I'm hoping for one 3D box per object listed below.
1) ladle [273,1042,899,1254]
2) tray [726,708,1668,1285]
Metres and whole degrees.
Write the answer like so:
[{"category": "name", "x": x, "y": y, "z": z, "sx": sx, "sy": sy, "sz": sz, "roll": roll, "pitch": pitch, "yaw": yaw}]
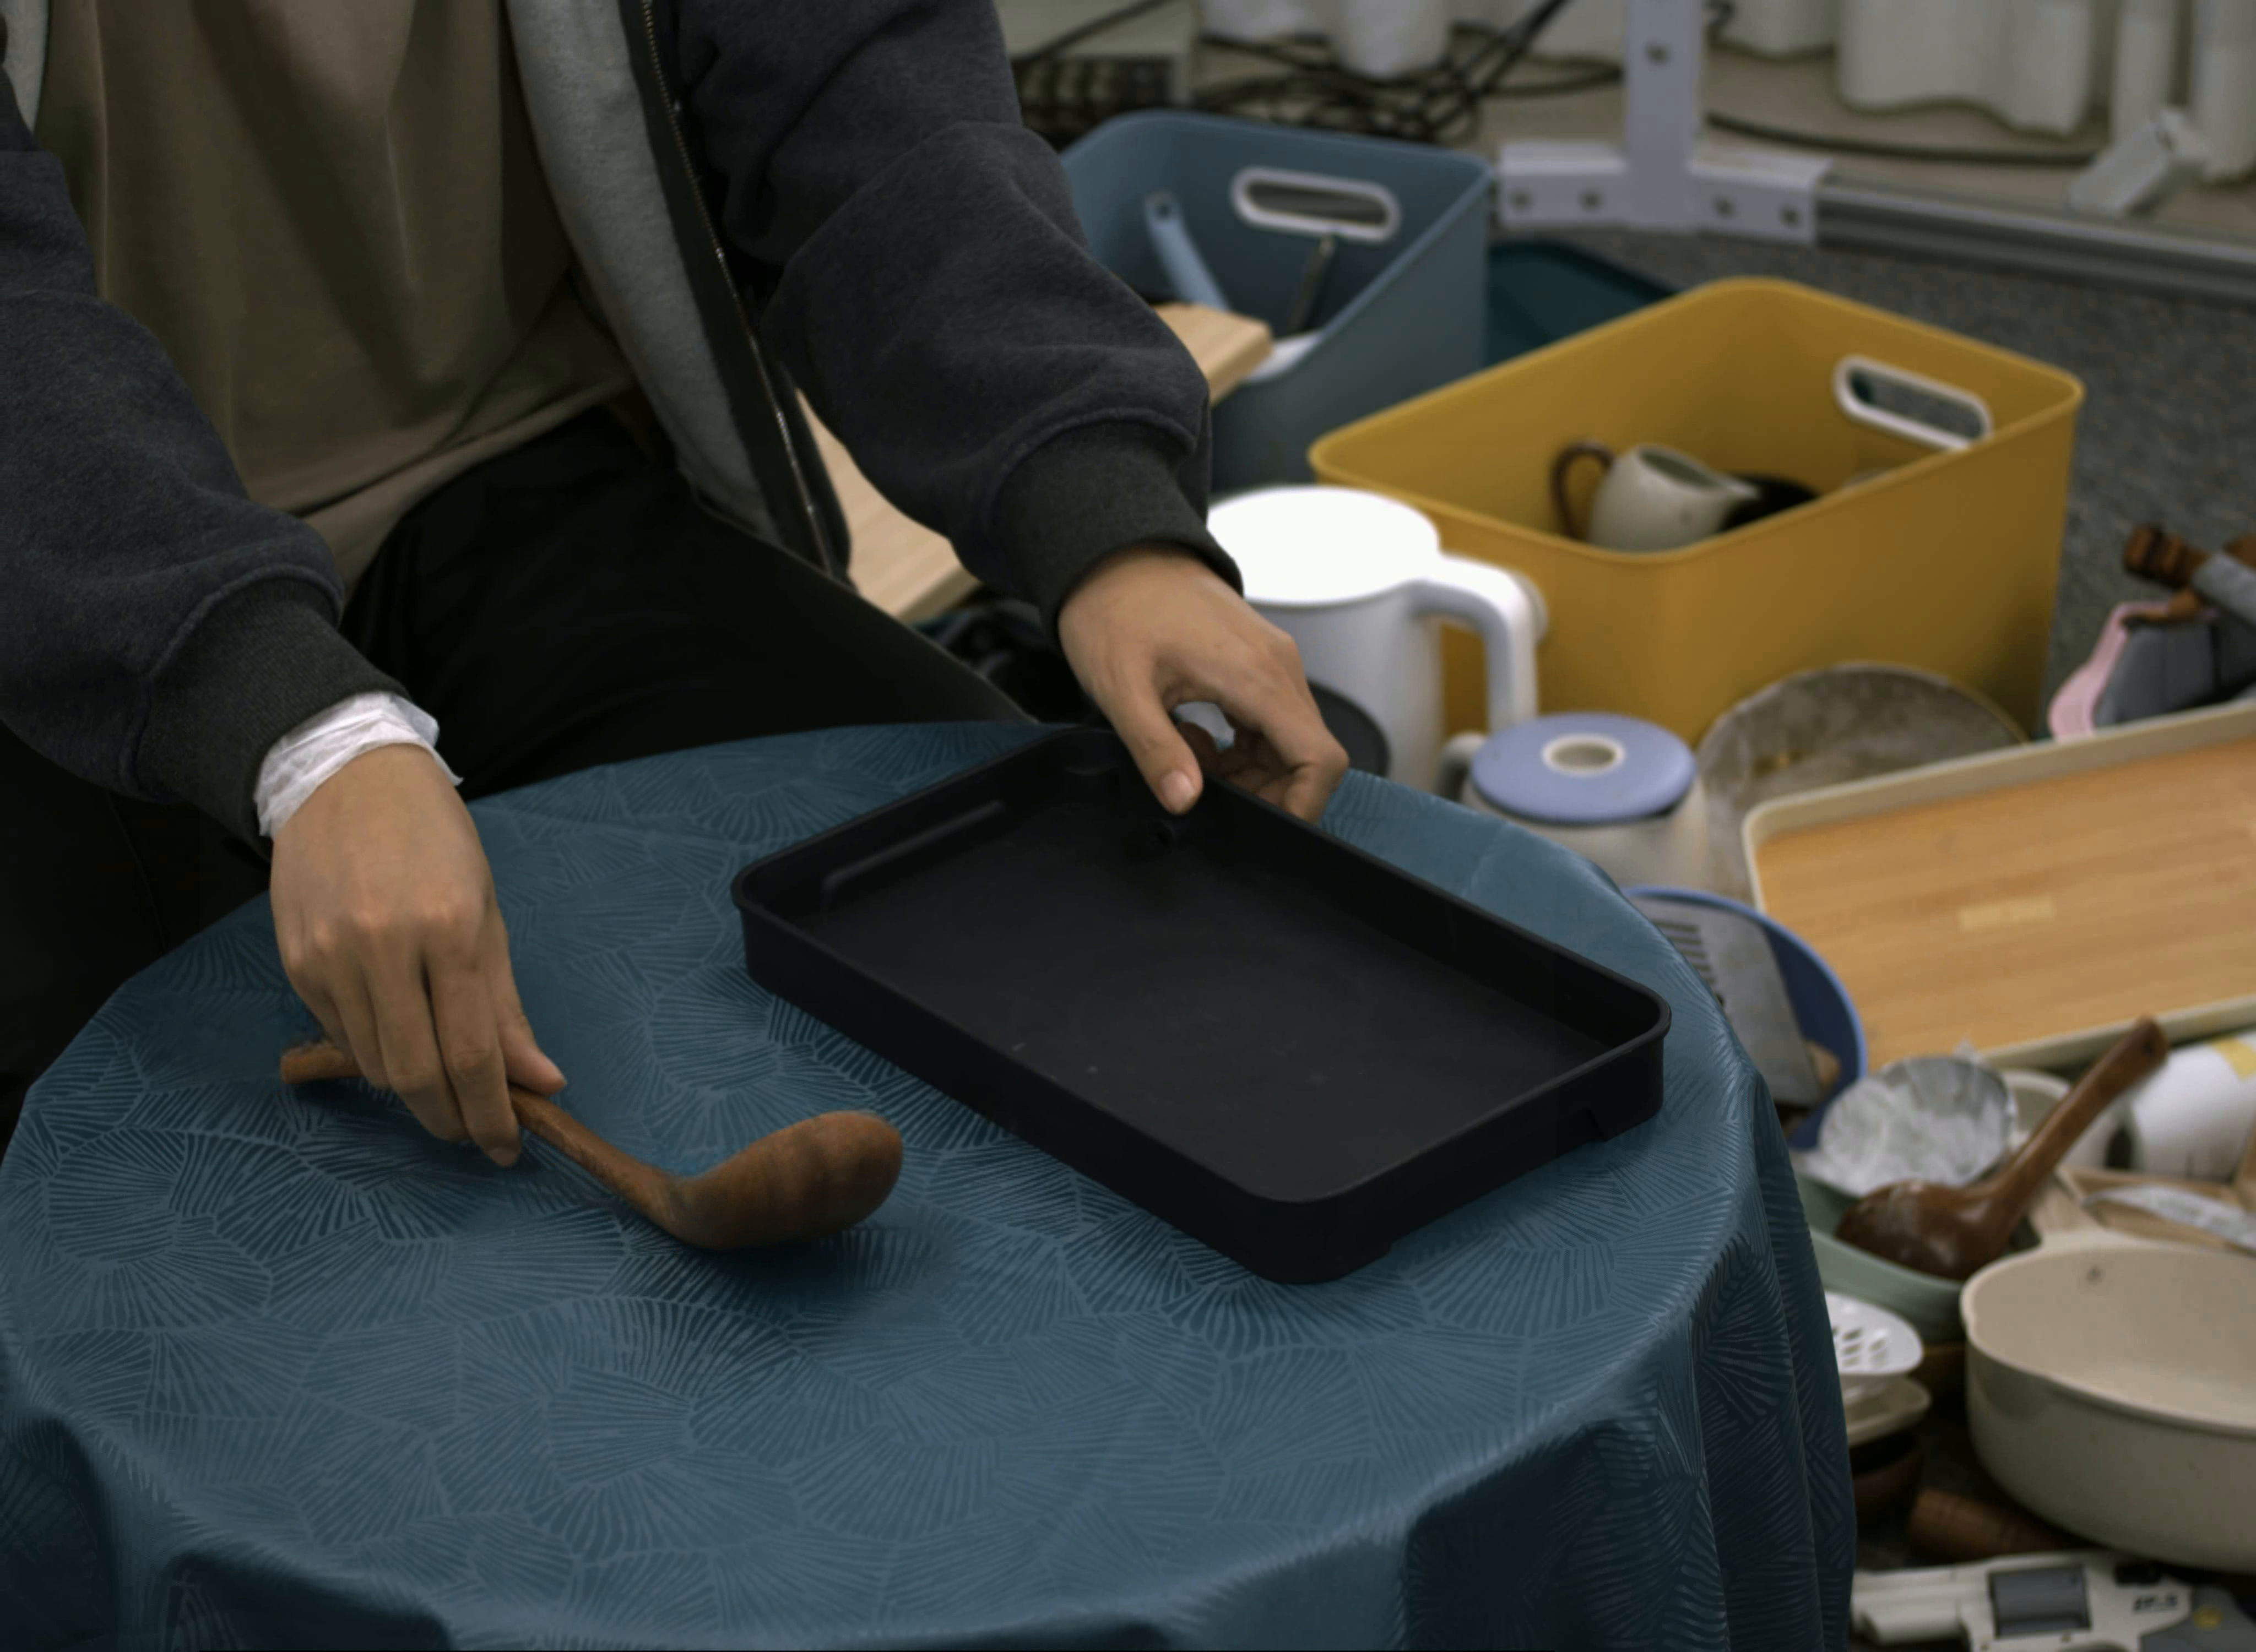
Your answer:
[{"category": "ladle", "x": -0.186, "y": 0.091, "z": 1.873, "sx": 0.259, "sy": 0.065, "sz": 0.077, "roll": 18, "pitch": 7, "yaw": 35}, {"category": "tray", "x": 0.020, "y": 0.053, "z": 1.948, "sx": 0.186, "sy": 0.036, "sz": 0.318, "roll": -23, "pitch": 35, "yaw": -34}]
